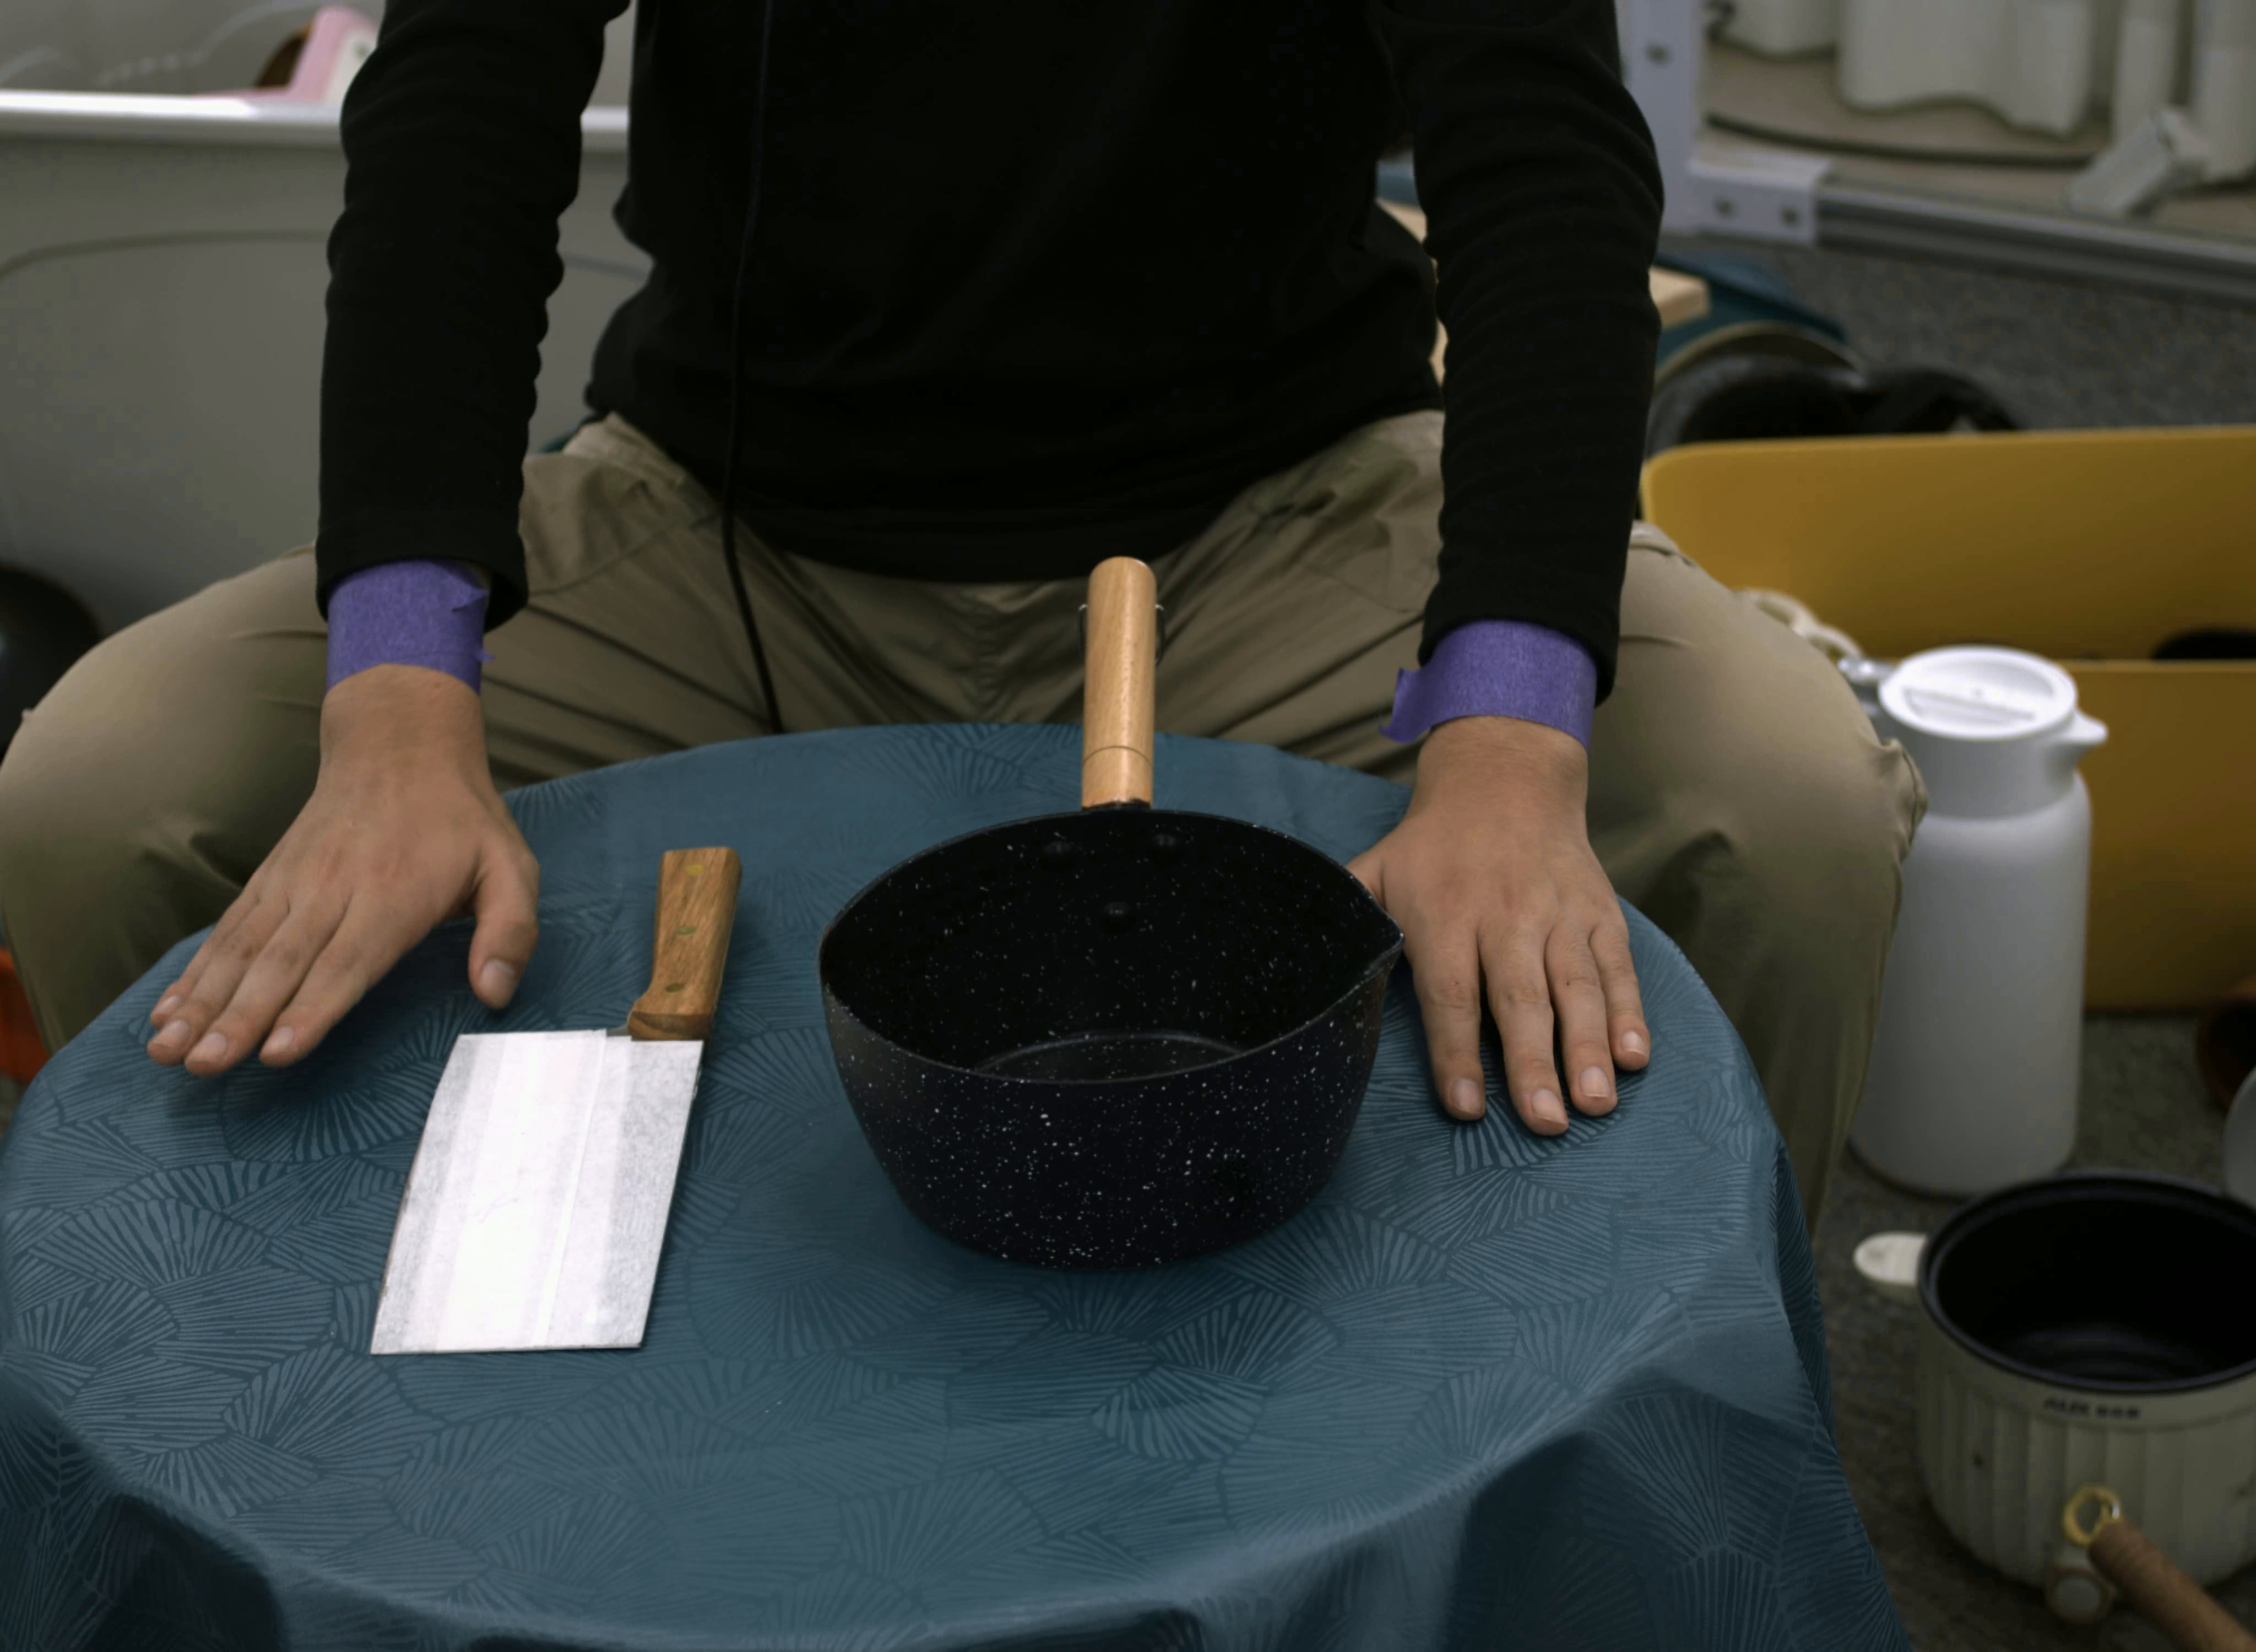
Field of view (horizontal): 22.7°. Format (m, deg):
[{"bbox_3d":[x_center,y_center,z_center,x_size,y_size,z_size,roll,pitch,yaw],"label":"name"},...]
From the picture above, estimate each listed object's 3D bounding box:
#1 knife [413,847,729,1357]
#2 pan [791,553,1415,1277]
[{"bbox_3d":[-0.190,0.092,1.919,0.092,0.021,0.311,-2,29,4],"label":"knife"},{"bbox_3d":[-0.007,0.027,1.929,0.206,0.107,0.348,-2,28,2],"label":"pan"}]
